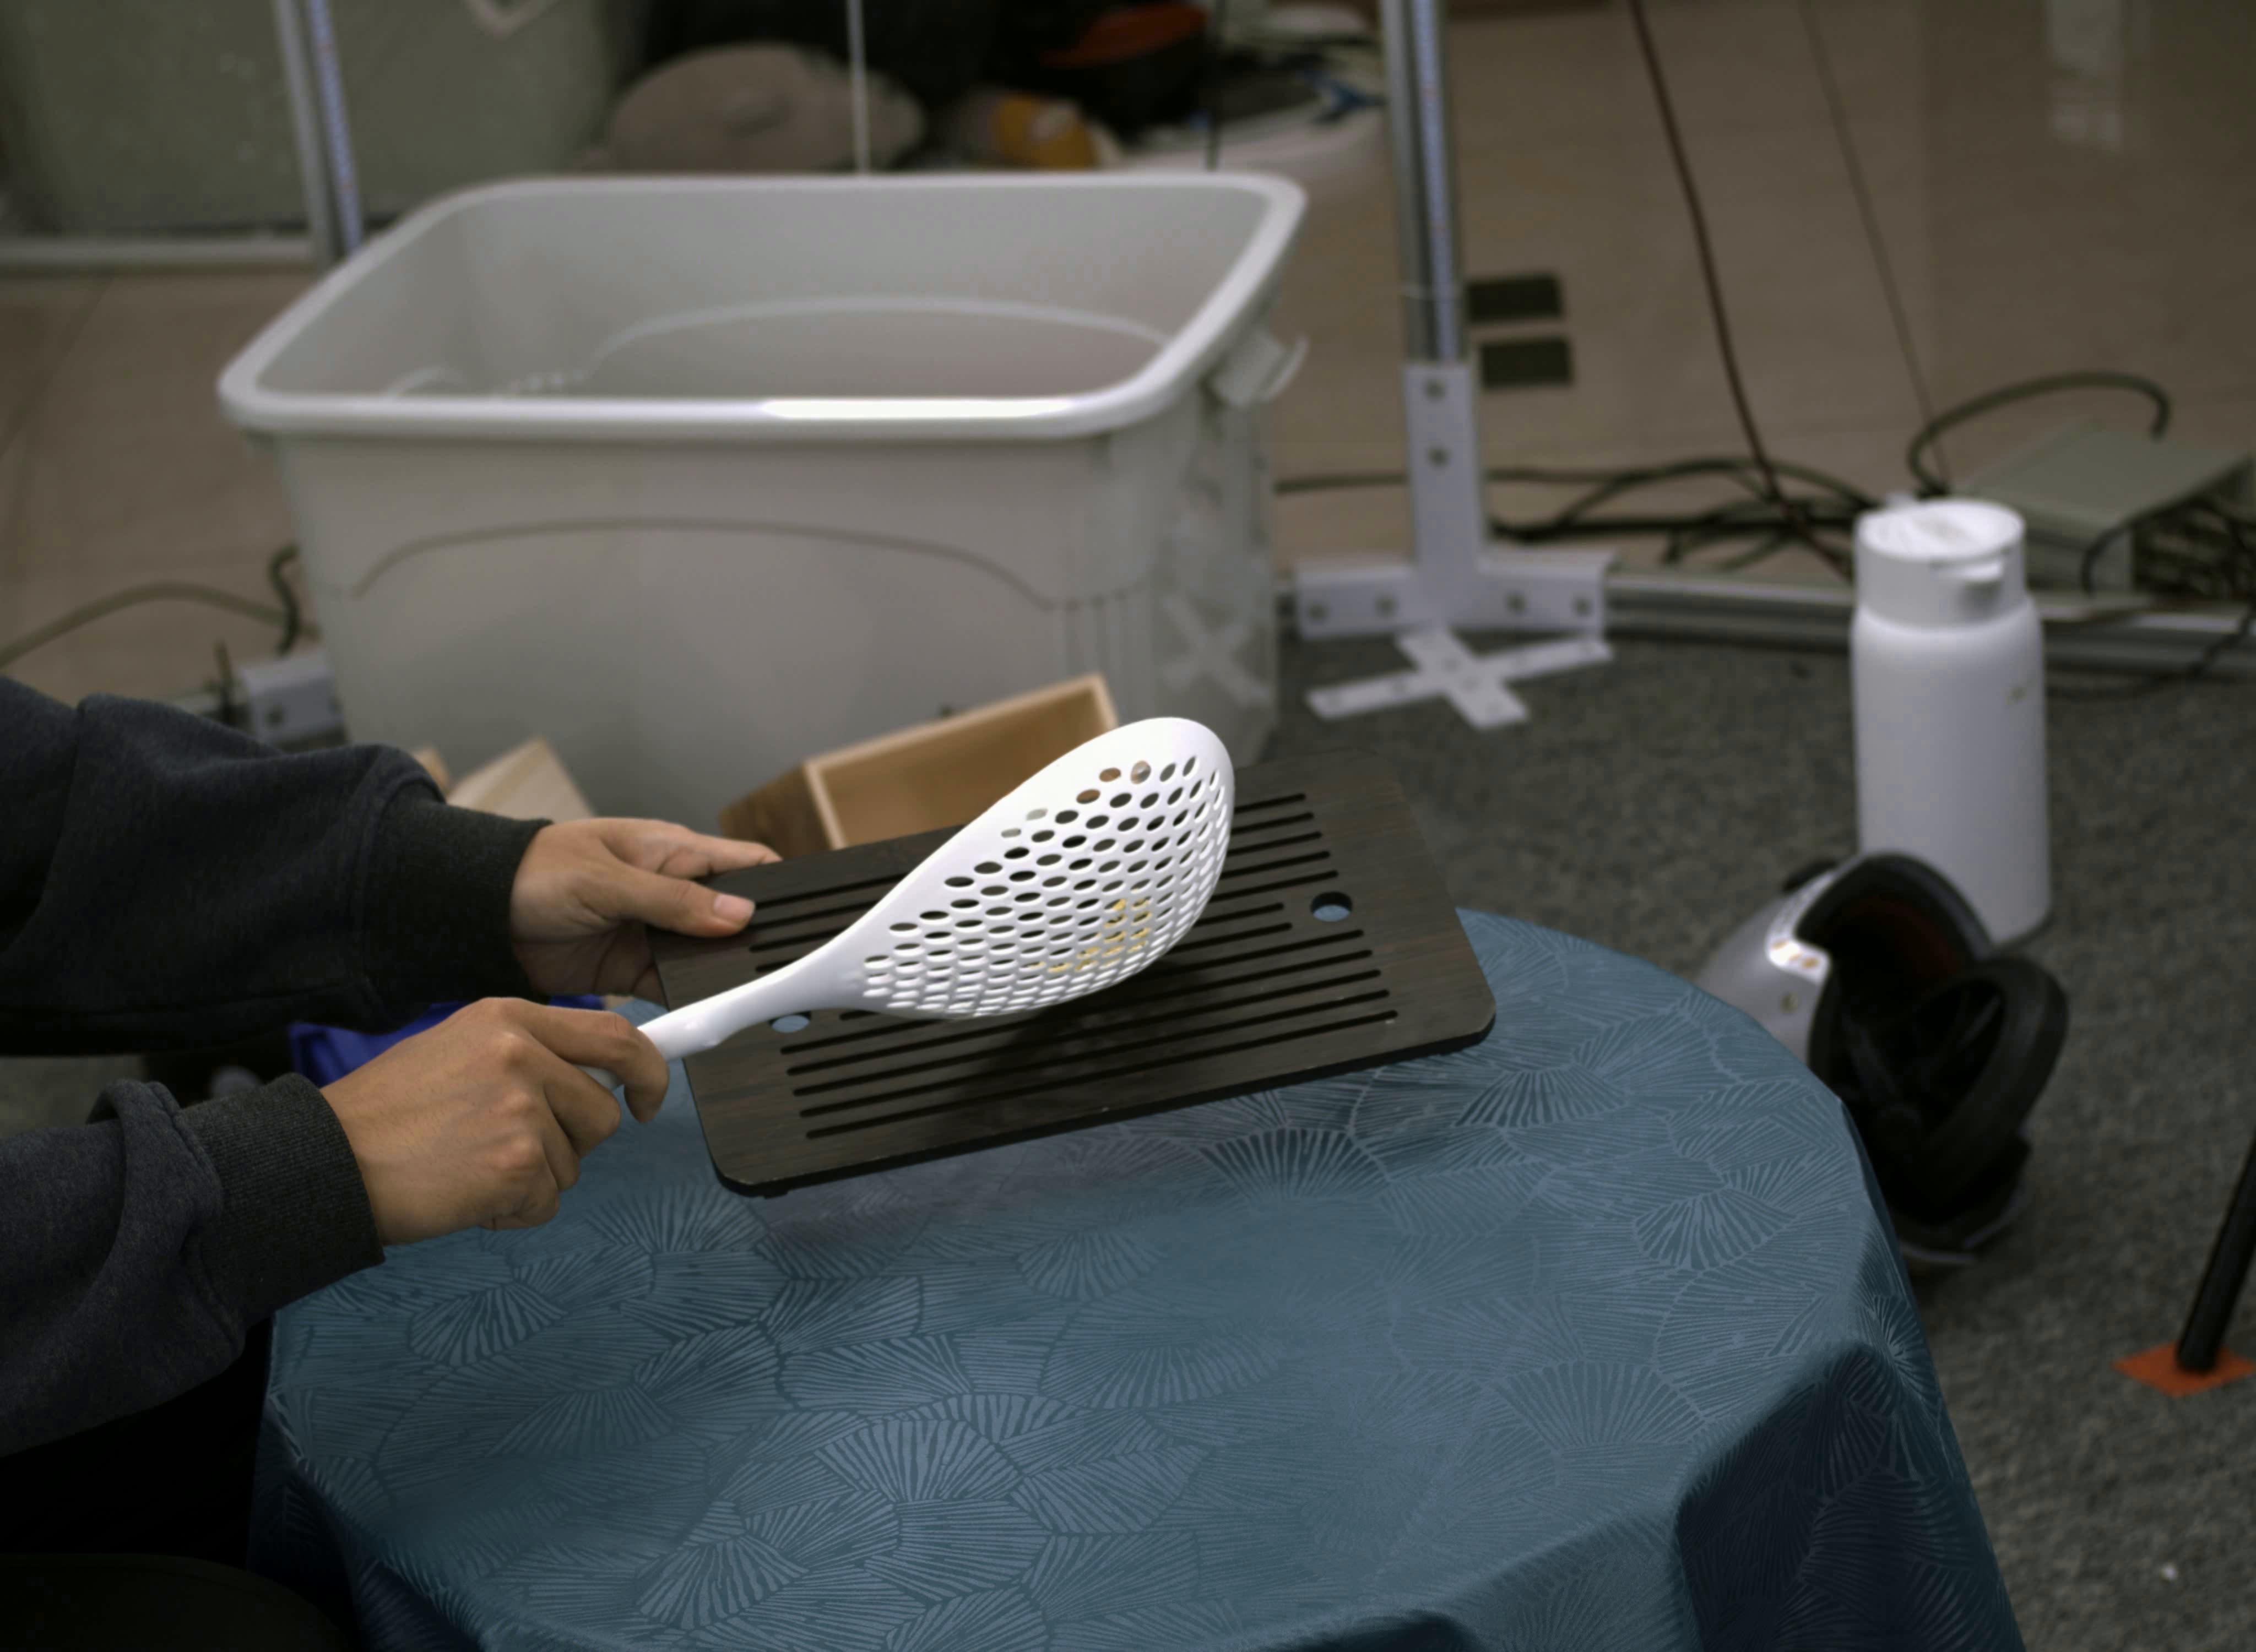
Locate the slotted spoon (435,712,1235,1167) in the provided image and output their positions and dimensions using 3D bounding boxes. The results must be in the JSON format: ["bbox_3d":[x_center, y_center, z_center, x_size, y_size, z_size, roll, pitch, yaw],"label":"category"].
[{"bbox_3d":[-0.102,0.057,2.062,0.346,0.139,0.049,-18,51,-23],"label":"slotted spoon"}]

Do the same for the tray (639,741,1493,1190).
[{"bbox_3d":[-0.026,0.054,2.183,0.305,0.019,0.167,-11,45,-9],"label":"tray"}]
